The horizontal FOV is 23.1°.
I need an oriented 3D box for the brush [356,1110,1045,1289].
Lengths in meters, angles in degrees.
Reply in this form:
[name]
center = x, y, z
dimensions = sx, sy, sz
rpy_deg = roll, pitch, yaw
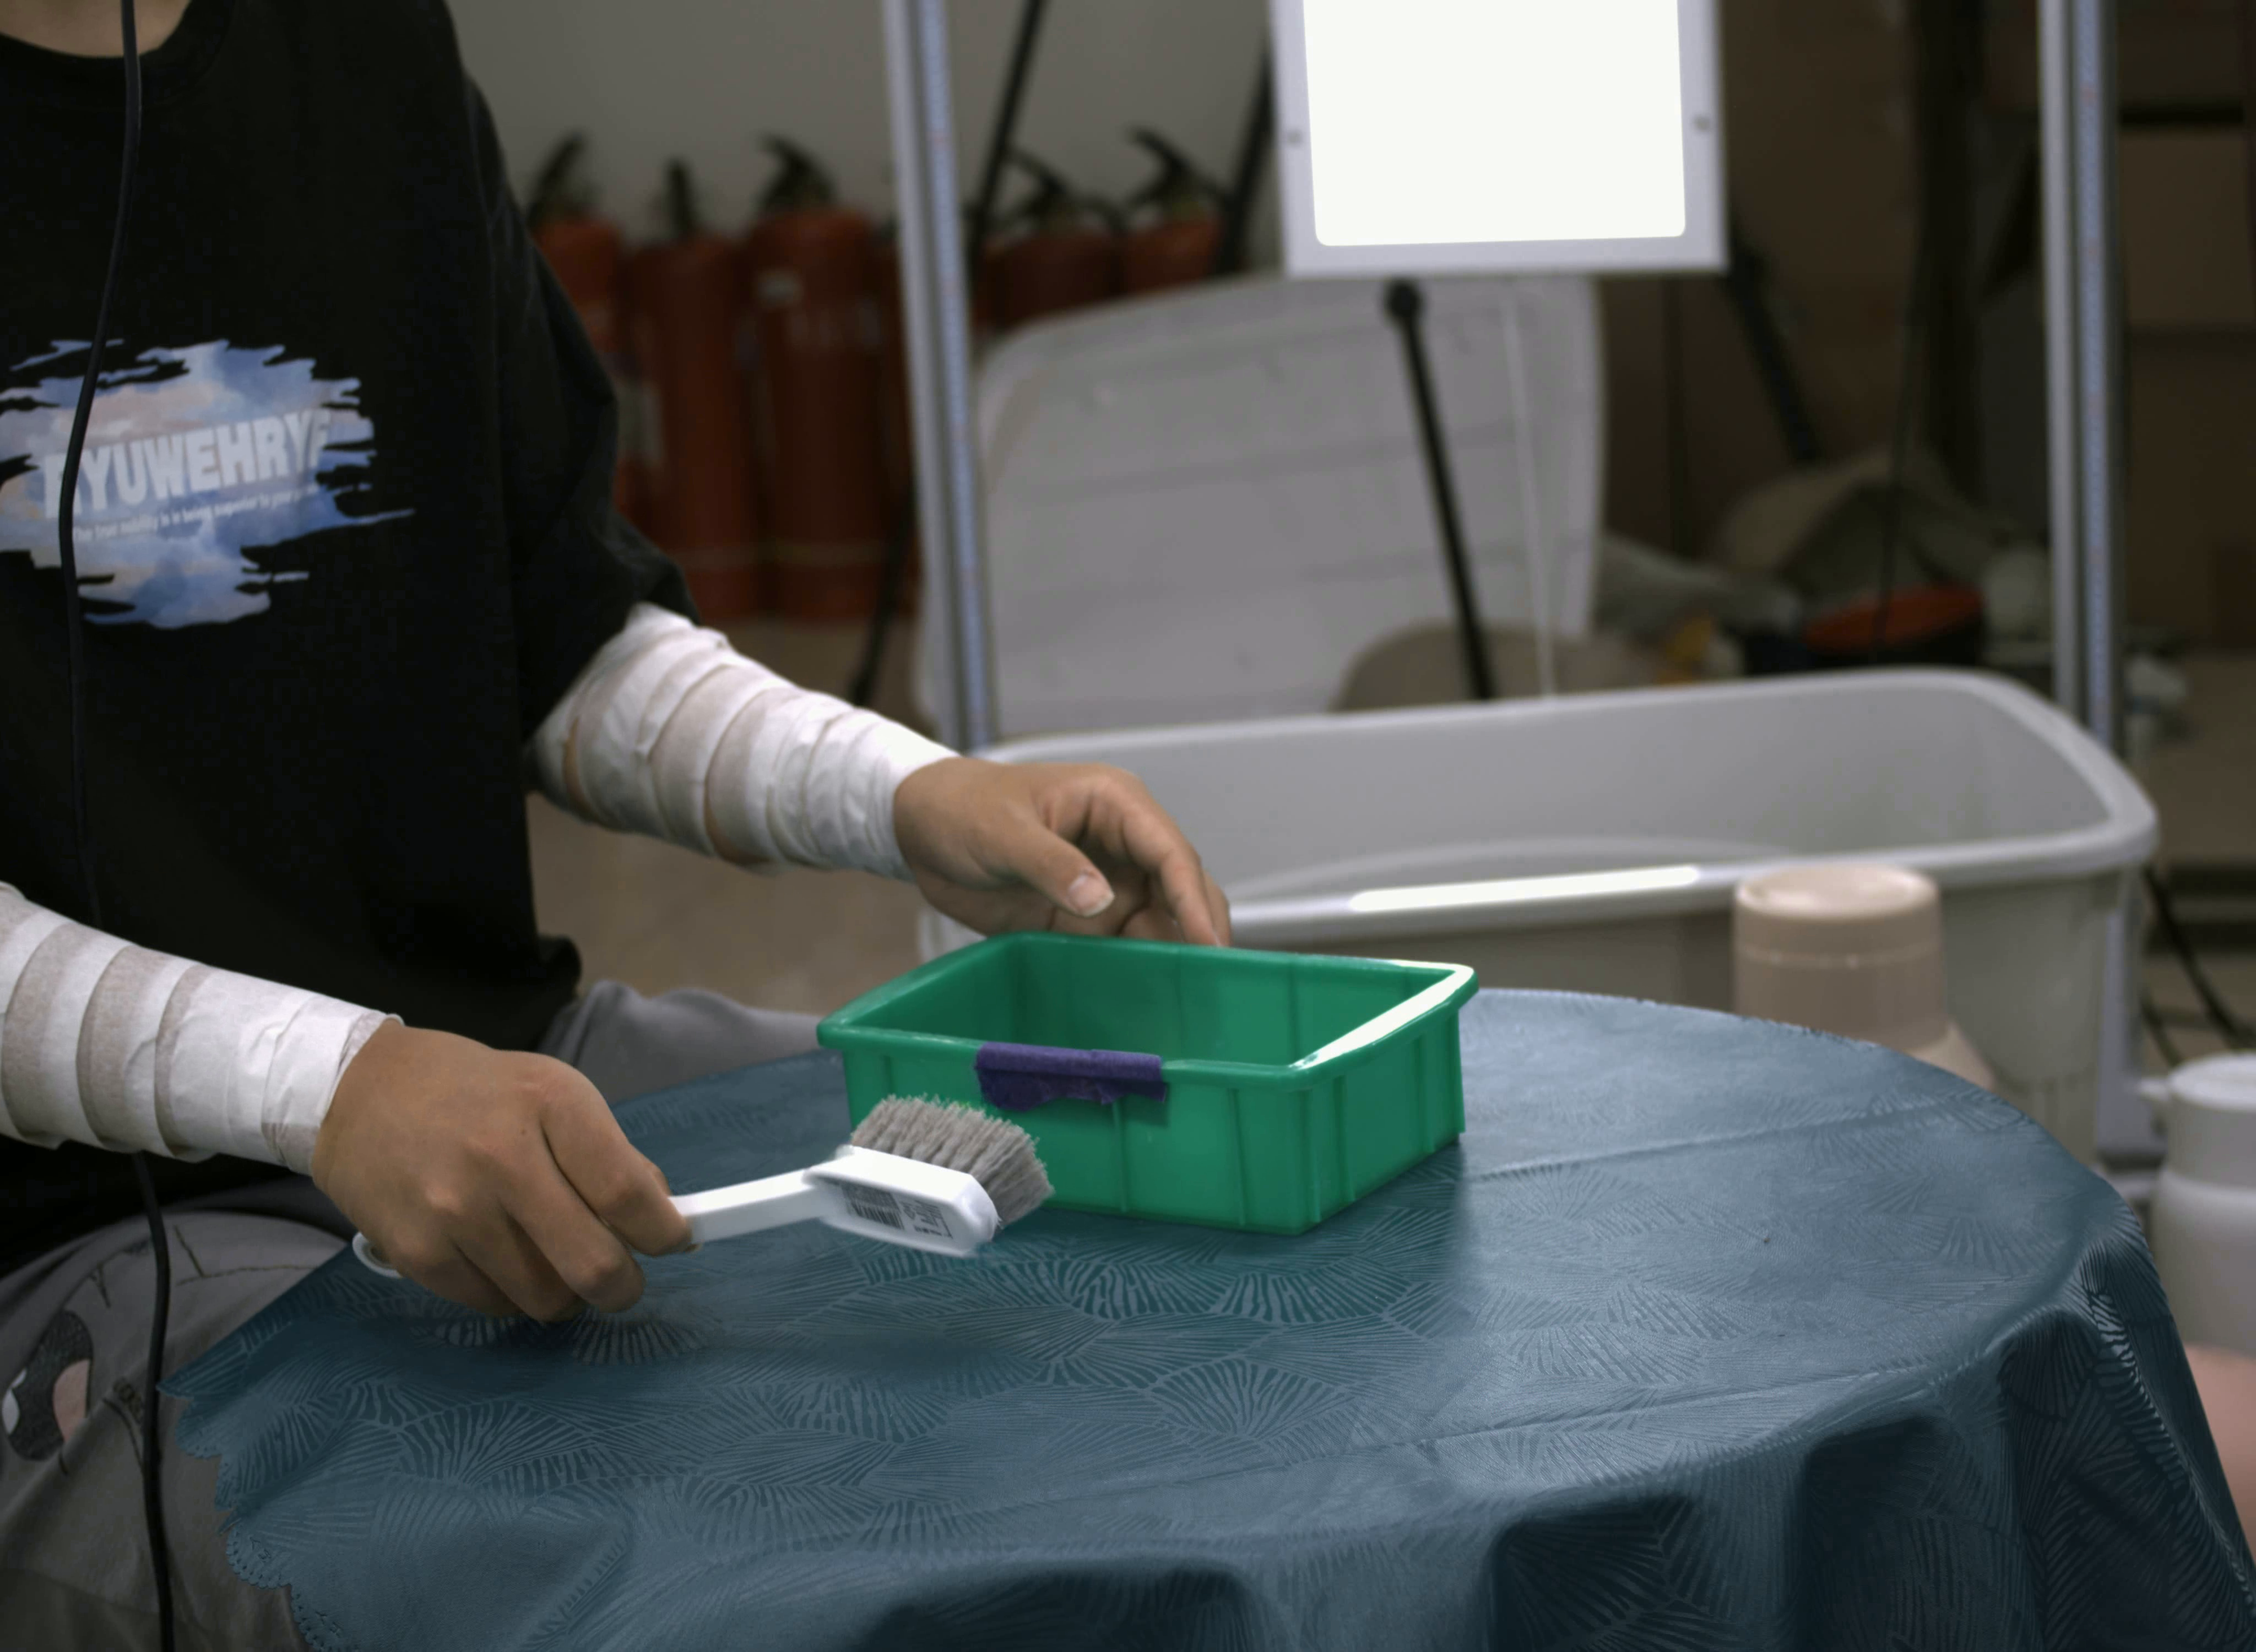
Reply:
[brush]
center = -0.140, 0.122, 1.794
dimensions = 0.248, 0.034, 0.049
rpy_deg = -5, 39, 28

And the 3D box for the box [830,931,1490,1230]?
[box]
center = 0.014, 0.088, 1.922
dimensions = 0.214, 0.065, 0.135
rpy_deg = 3, 18, 32
